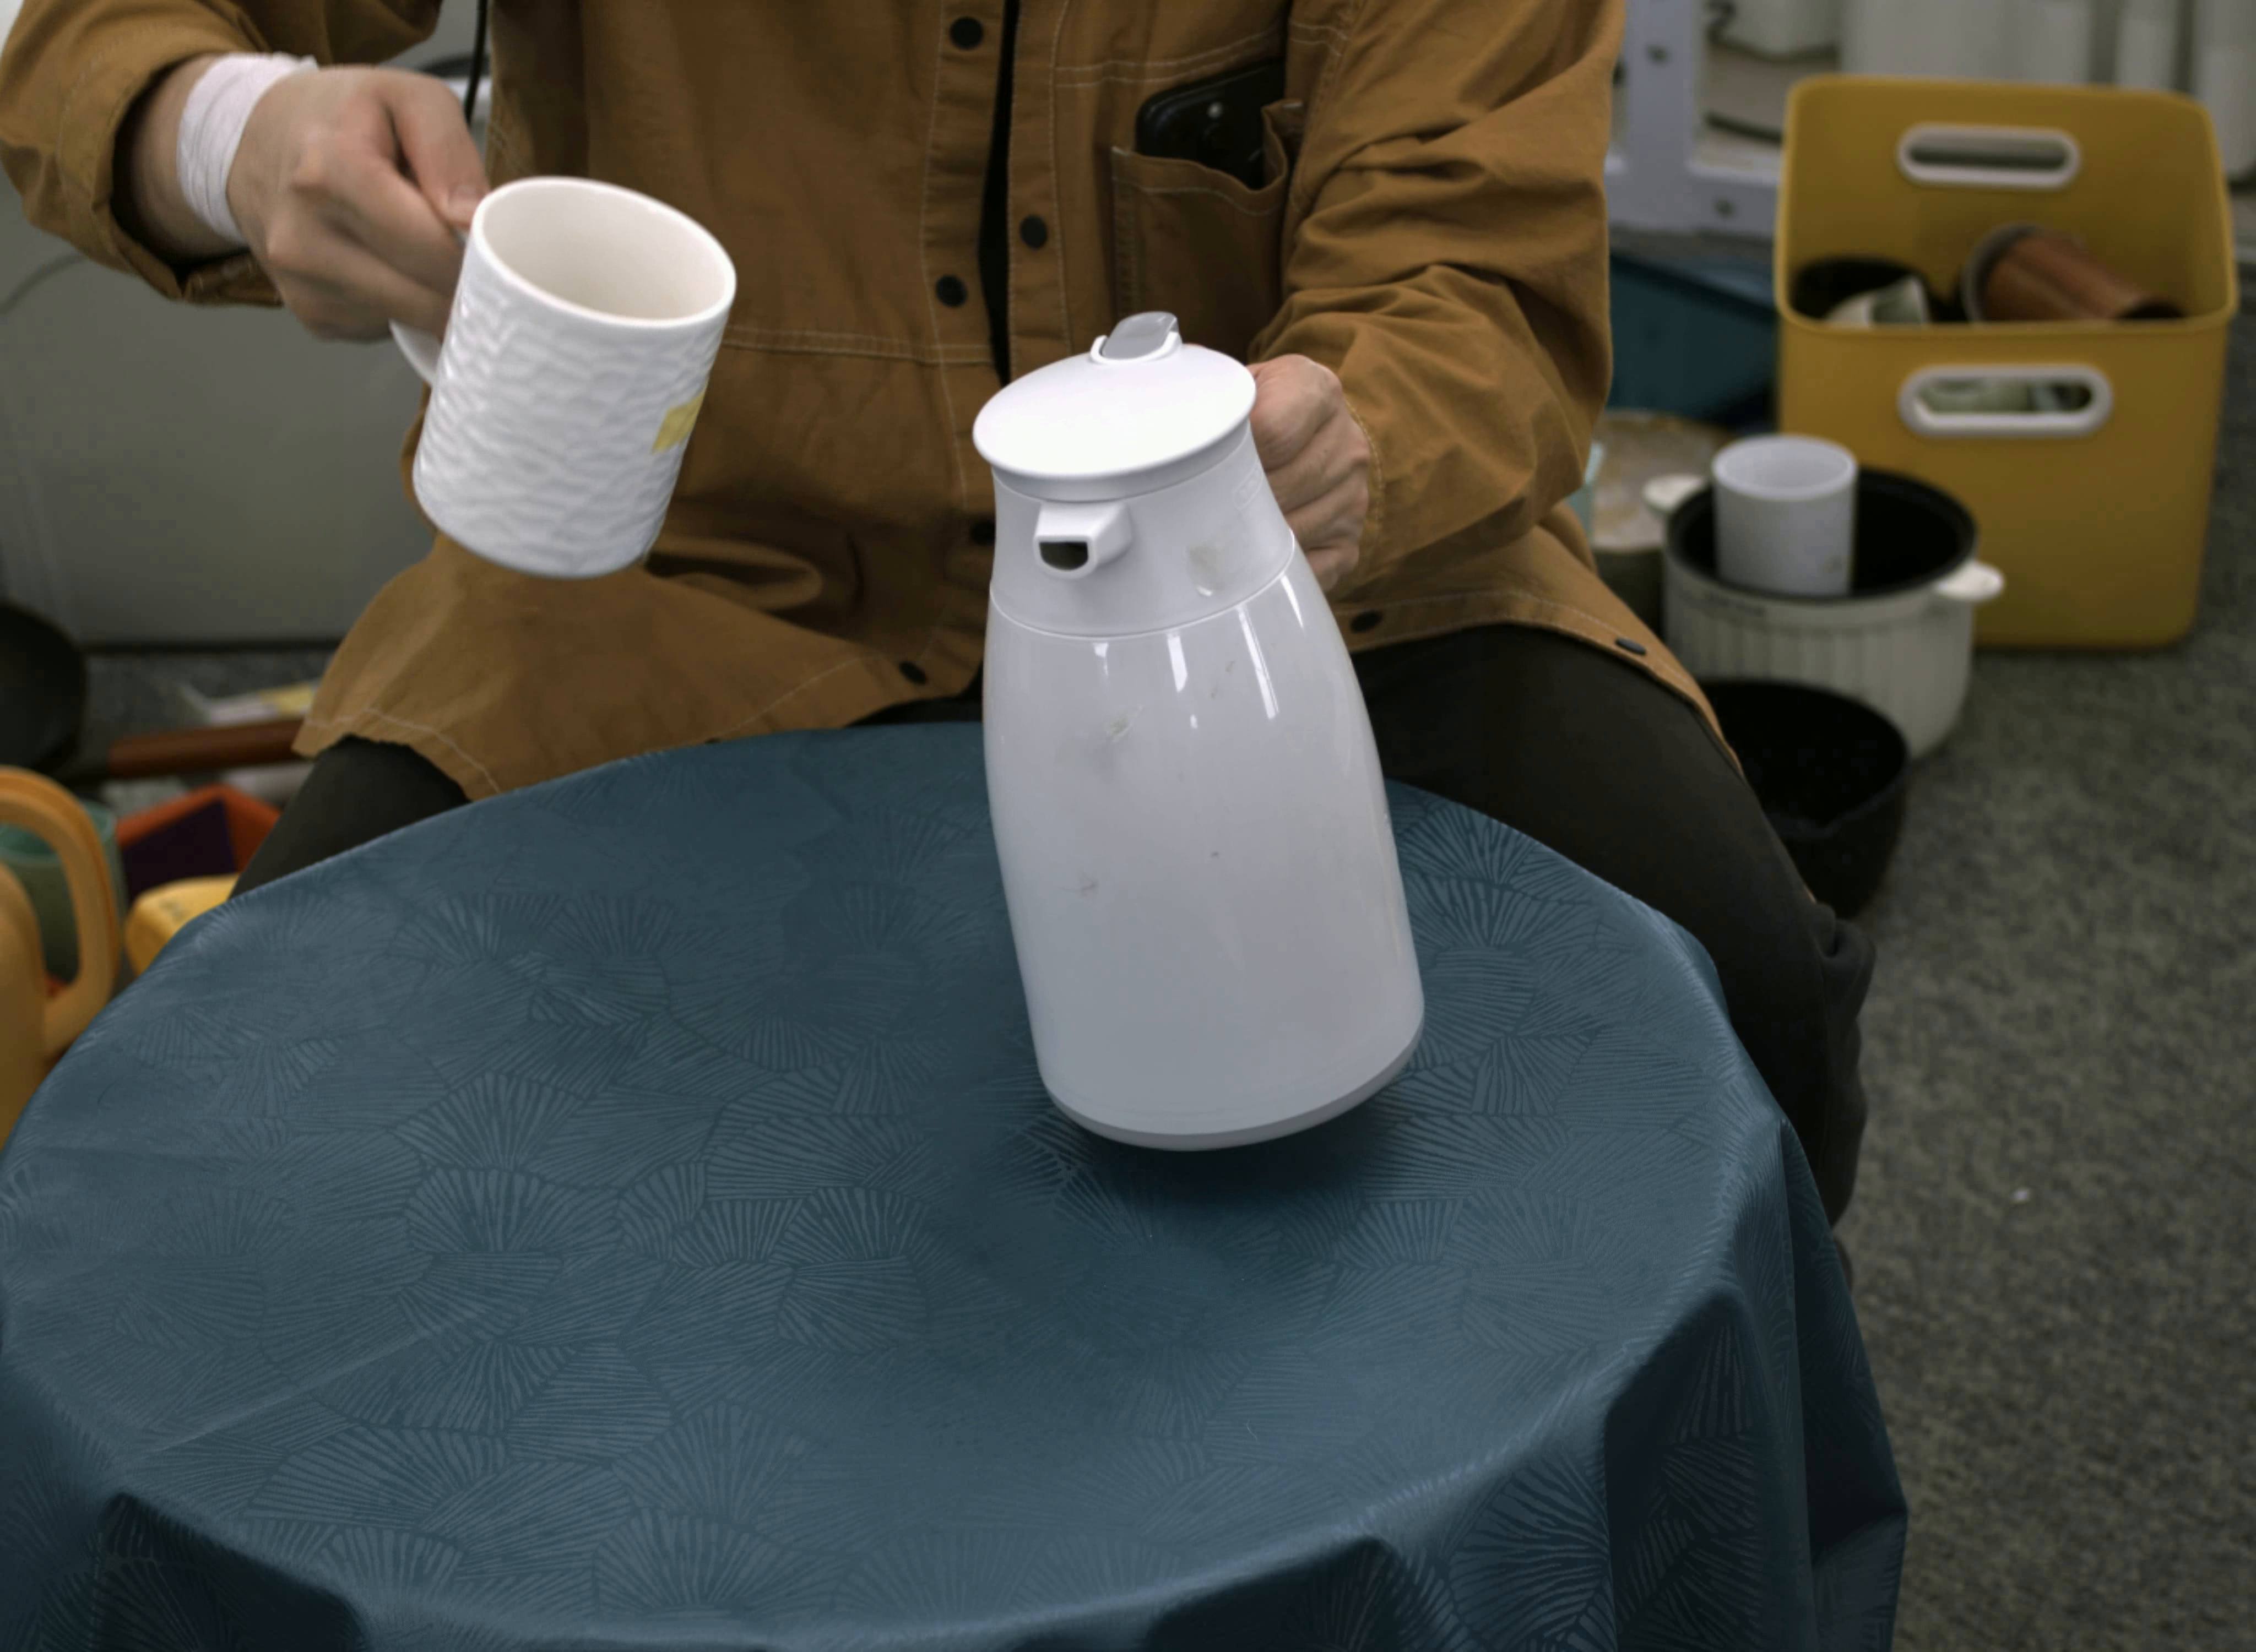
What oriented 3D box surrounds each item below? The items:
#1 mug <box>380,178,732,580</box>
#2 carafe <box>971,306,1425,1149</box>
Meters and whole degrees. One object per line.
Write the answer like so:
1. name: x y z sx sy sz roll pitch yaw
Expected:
1. mug: -0.193 -0.150 1.816 0.118 0.100 0.086 32 34 19
2. carafe: 0.018 -0.043 1.850 0.131 0.246 0.171 -2 28 18
